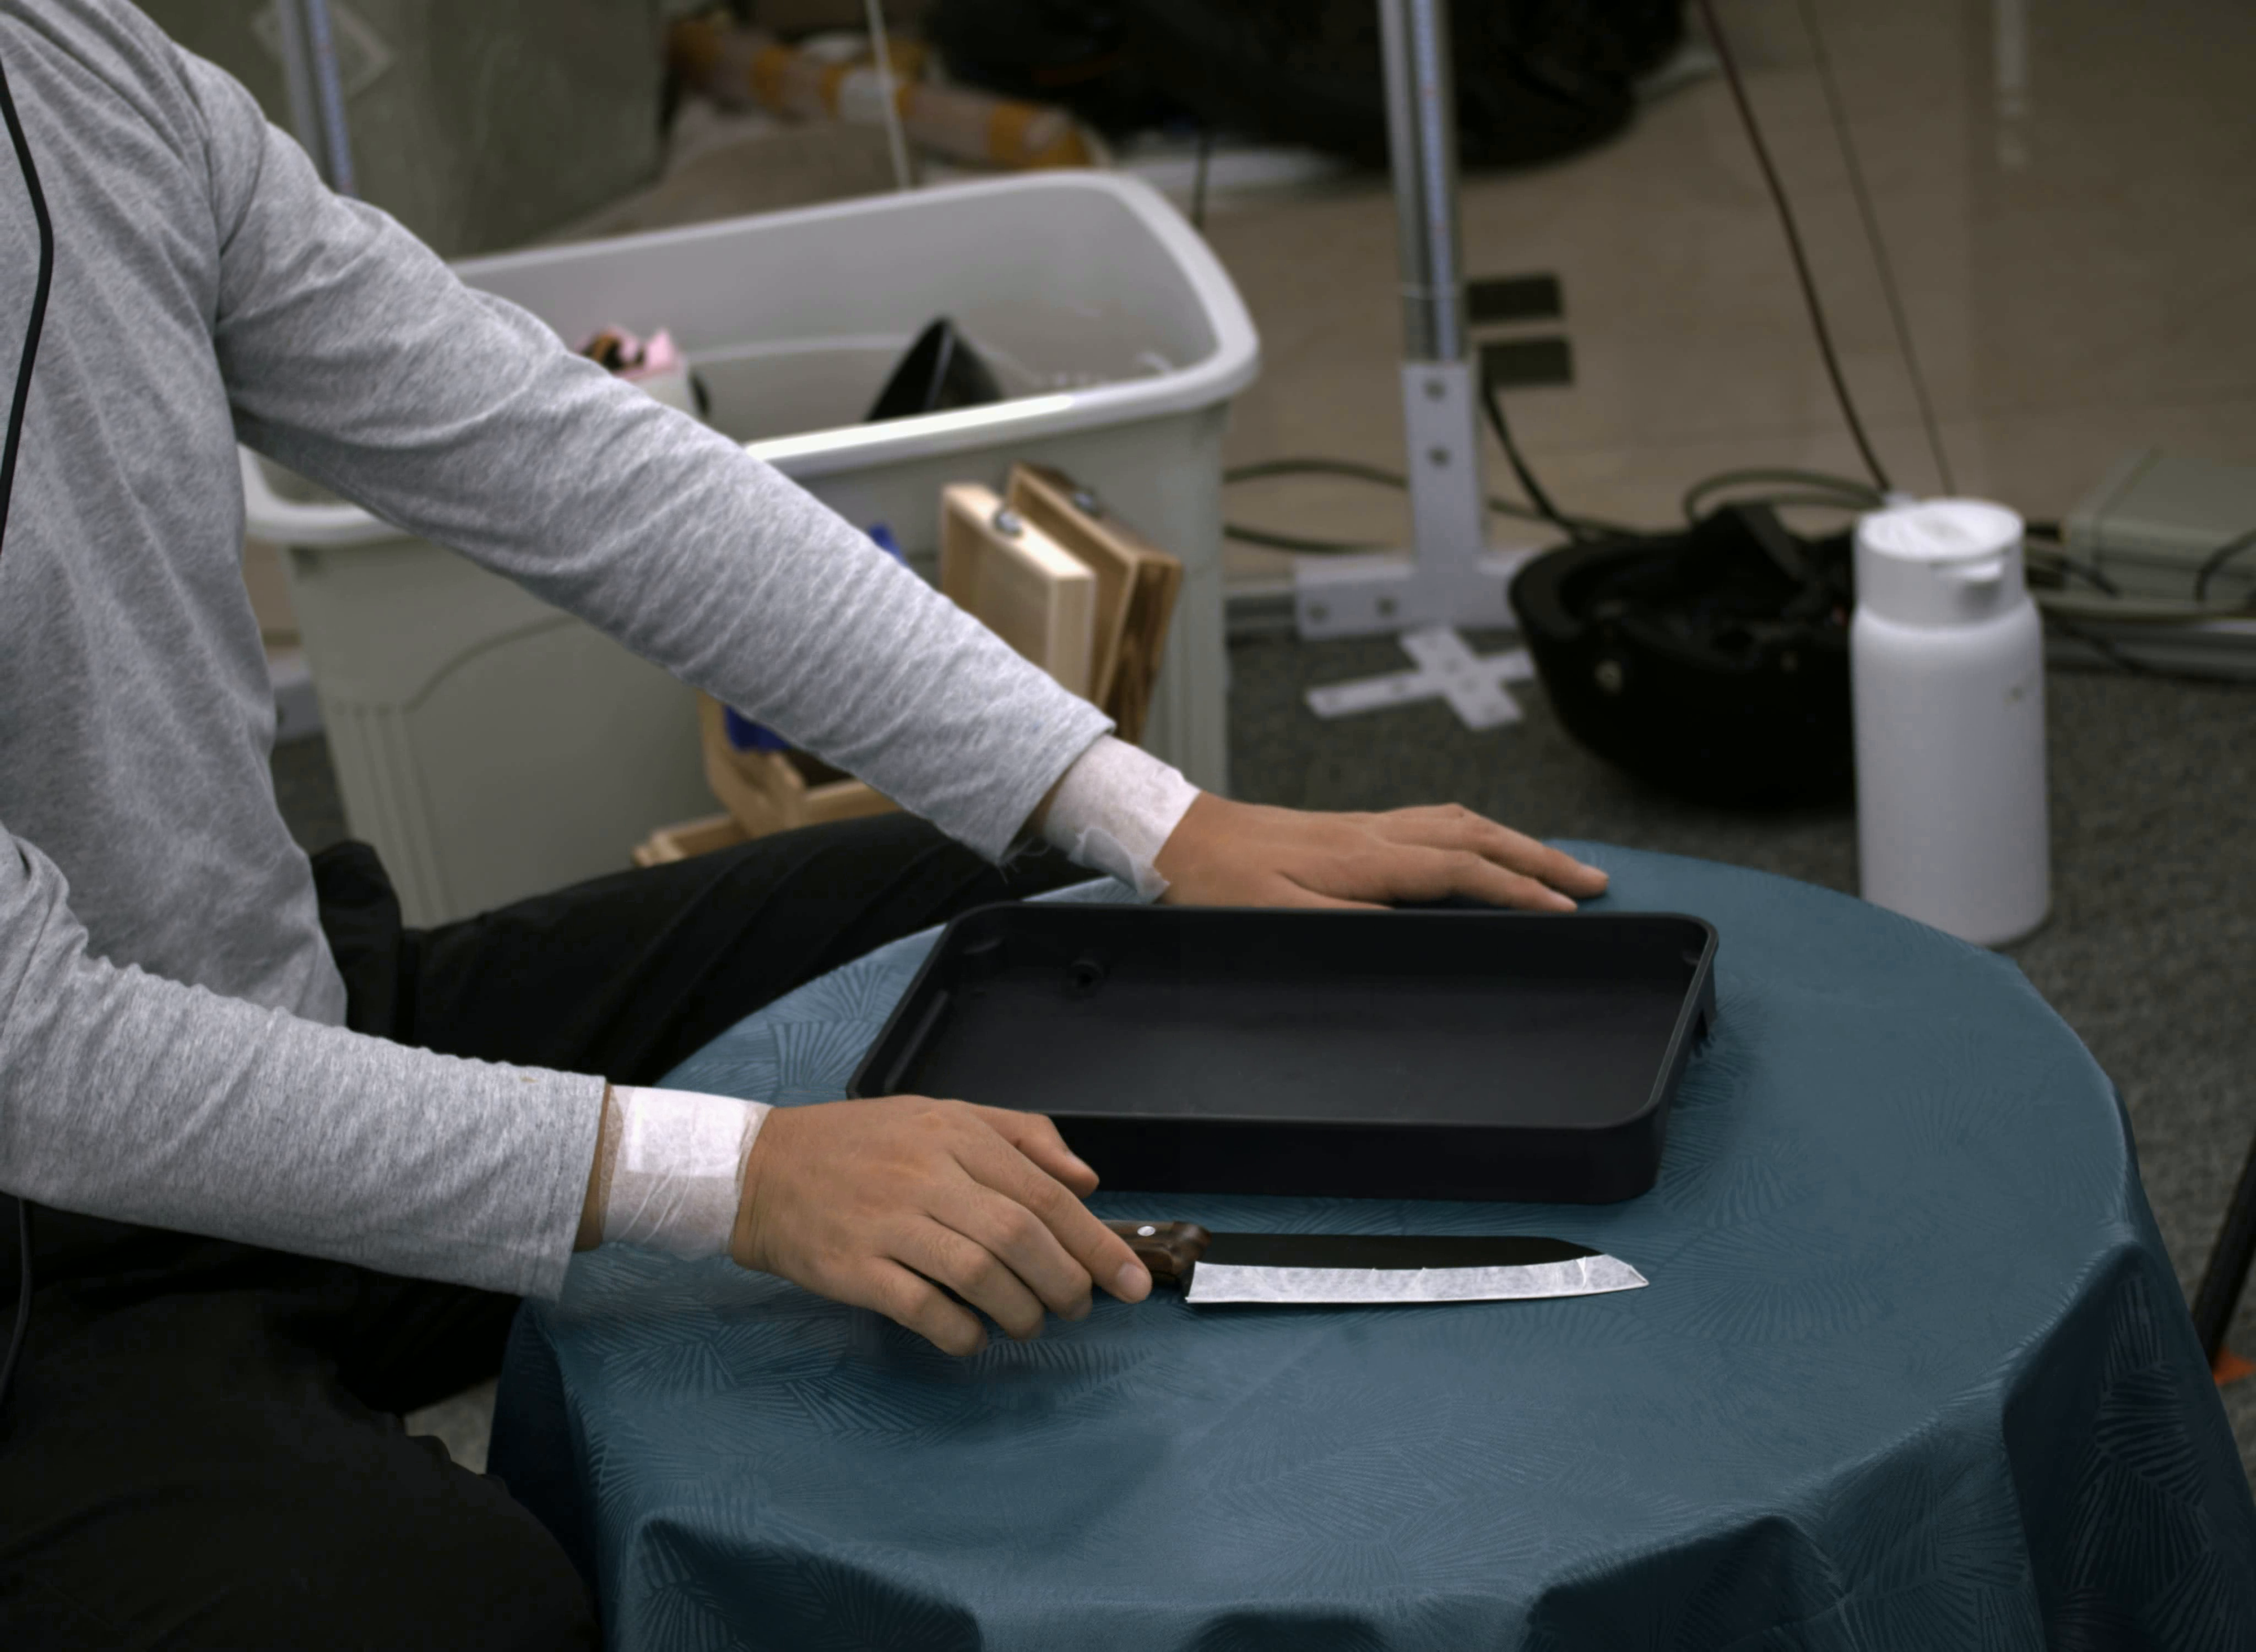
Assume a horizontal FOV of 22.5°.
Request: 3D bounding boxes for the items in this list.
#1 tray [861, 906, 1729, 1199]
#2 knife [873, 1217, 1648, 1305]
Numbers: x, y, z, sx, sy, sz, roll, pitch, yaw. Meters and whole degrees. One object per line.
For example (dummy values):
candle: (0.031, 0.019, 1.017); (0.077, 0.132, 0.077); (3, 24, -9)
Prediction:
tray: (0.068, 0.086, 2.206); (0.317, 0.037, 0.181); (-1, 25, 14)
knife: (0.046, 0.161, 2.076); (0.288, 0.020, 0.049); (1, 32, 10)
